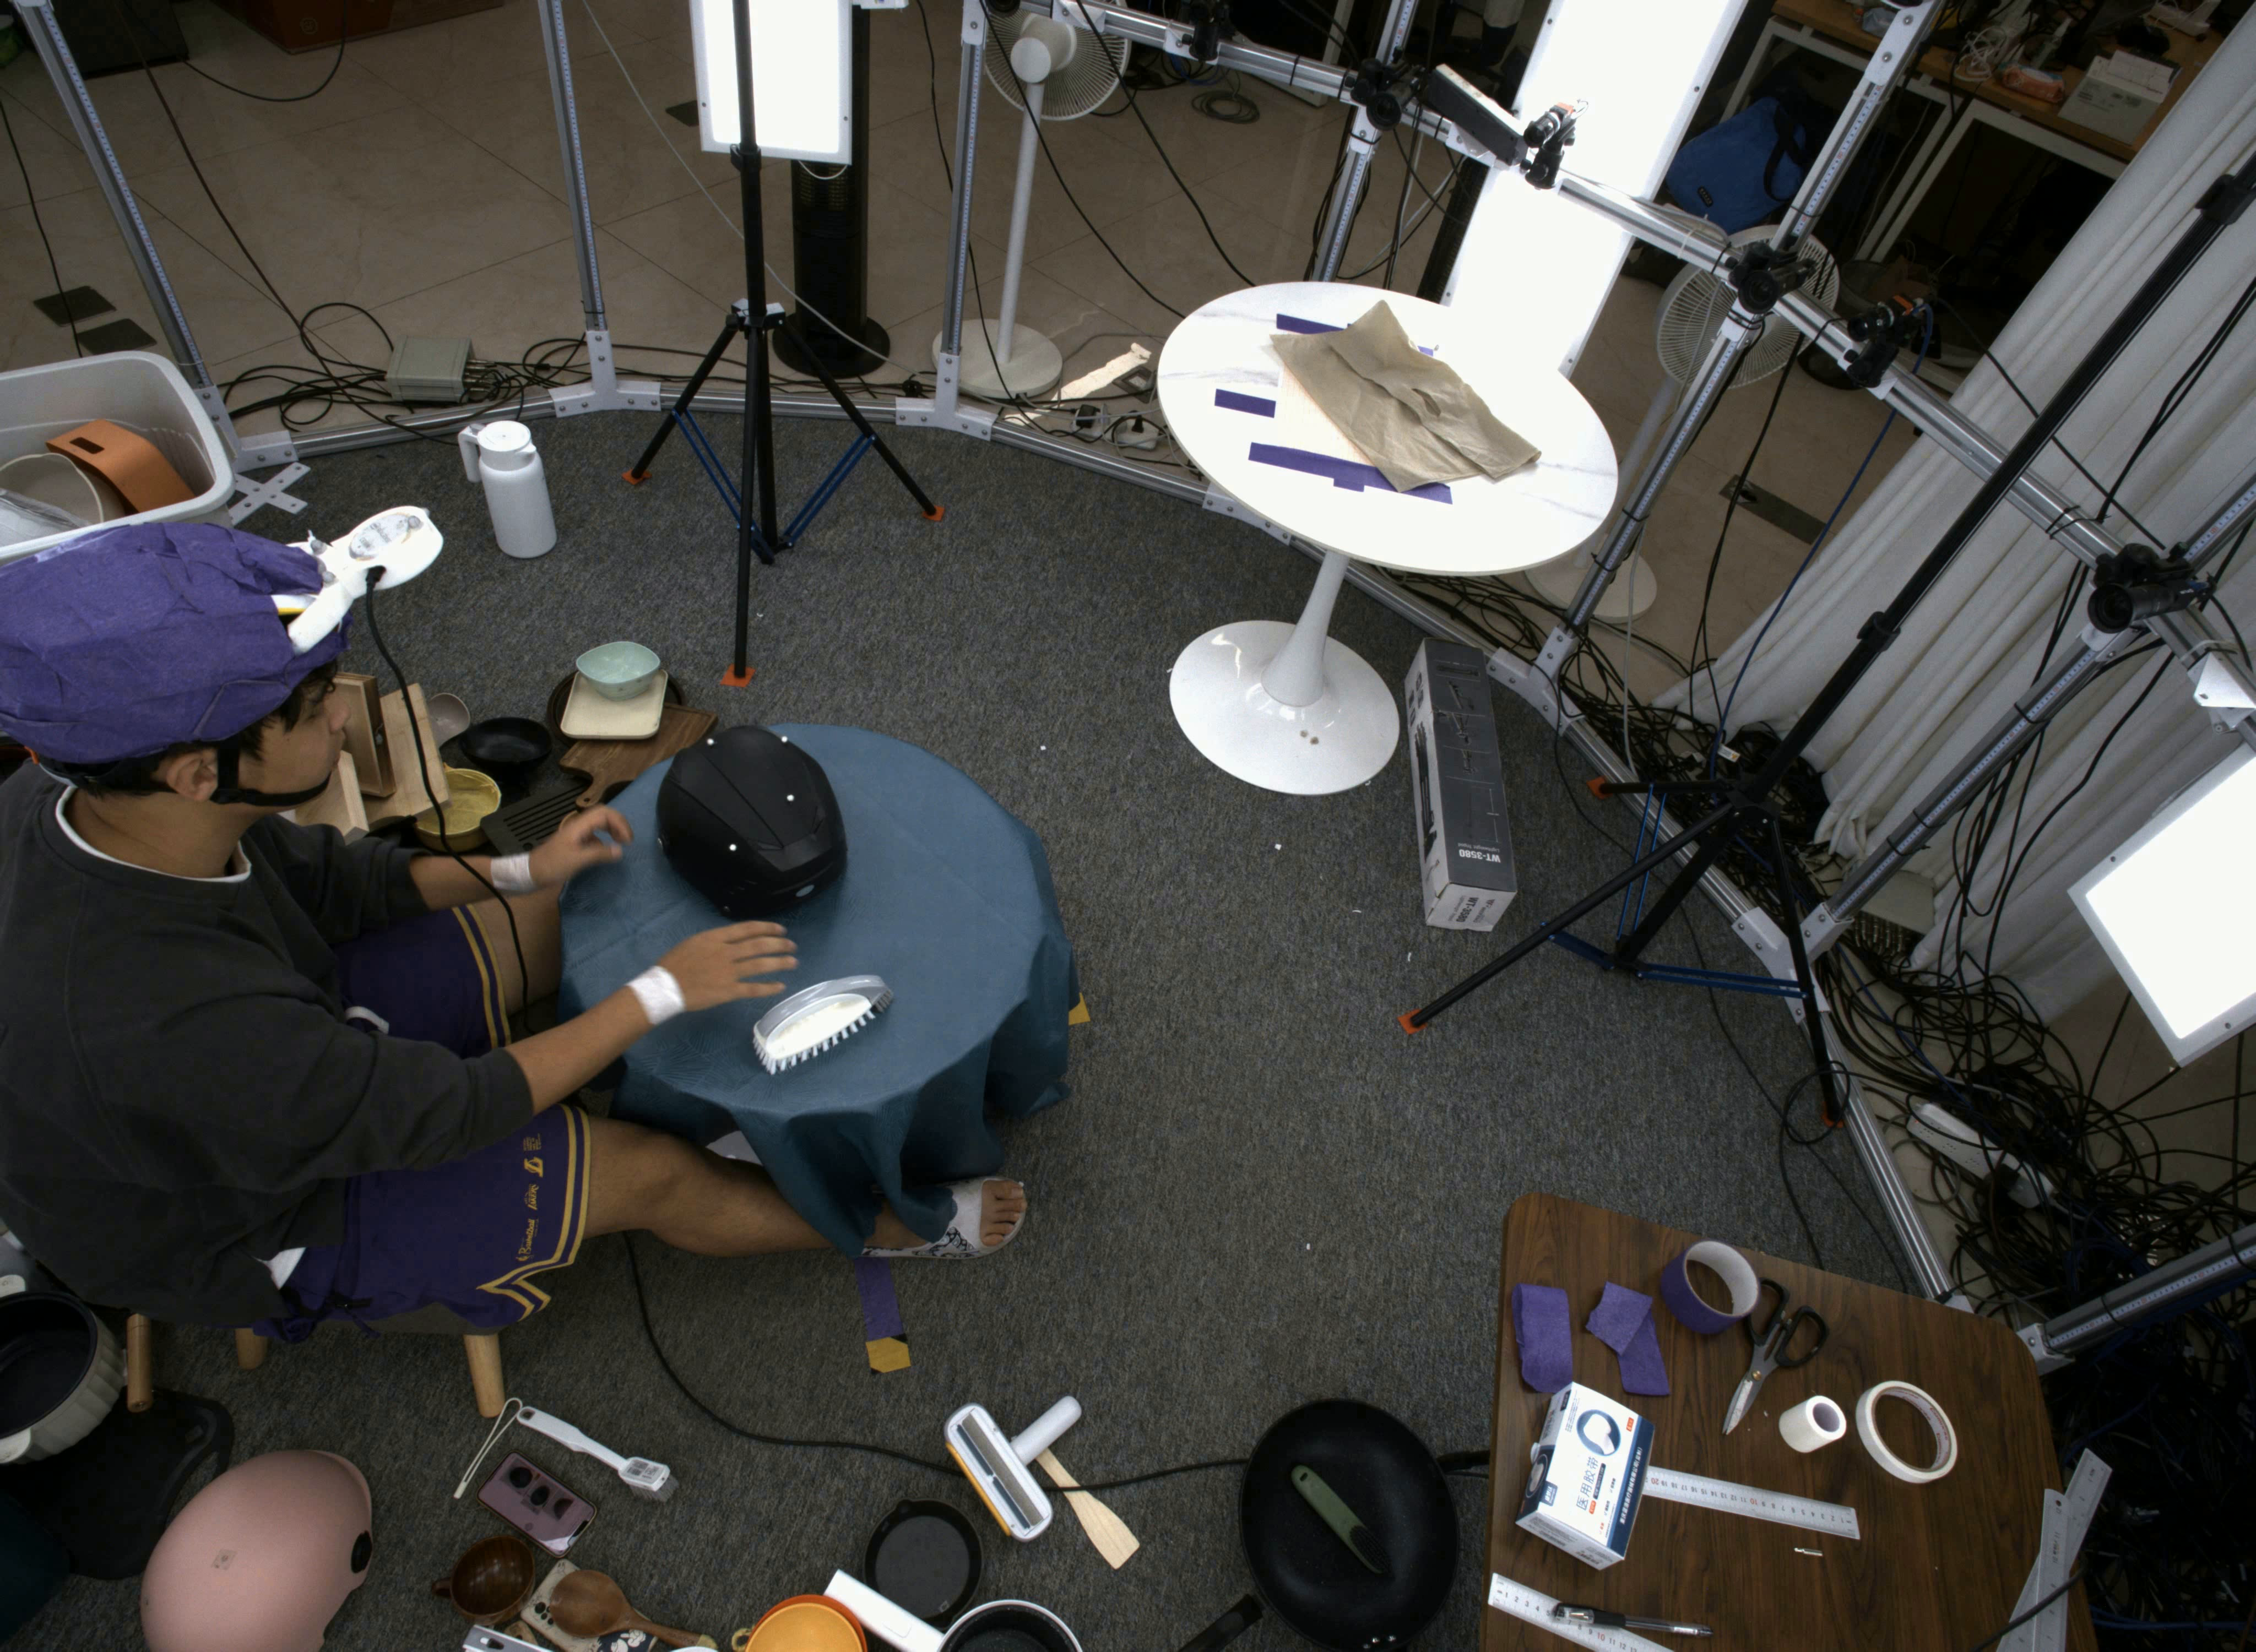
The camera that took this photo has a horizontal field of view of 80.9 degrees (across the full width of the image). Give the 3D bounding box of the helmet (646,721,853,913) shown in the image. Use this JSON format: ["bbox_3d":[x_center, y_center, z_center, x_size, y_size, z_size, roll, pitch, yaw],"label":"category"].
[{"bbox_3d":[-0.475,-0.028,1.634,0.248,0.175,0.271,-28,68,-30],"label":"helmet"}]

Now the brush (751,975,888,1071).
[{"bbox_3d":[-0.358,0.211,1.529,0.176,0.096,0.060,-23,62,-30],"label":"brush"}]
